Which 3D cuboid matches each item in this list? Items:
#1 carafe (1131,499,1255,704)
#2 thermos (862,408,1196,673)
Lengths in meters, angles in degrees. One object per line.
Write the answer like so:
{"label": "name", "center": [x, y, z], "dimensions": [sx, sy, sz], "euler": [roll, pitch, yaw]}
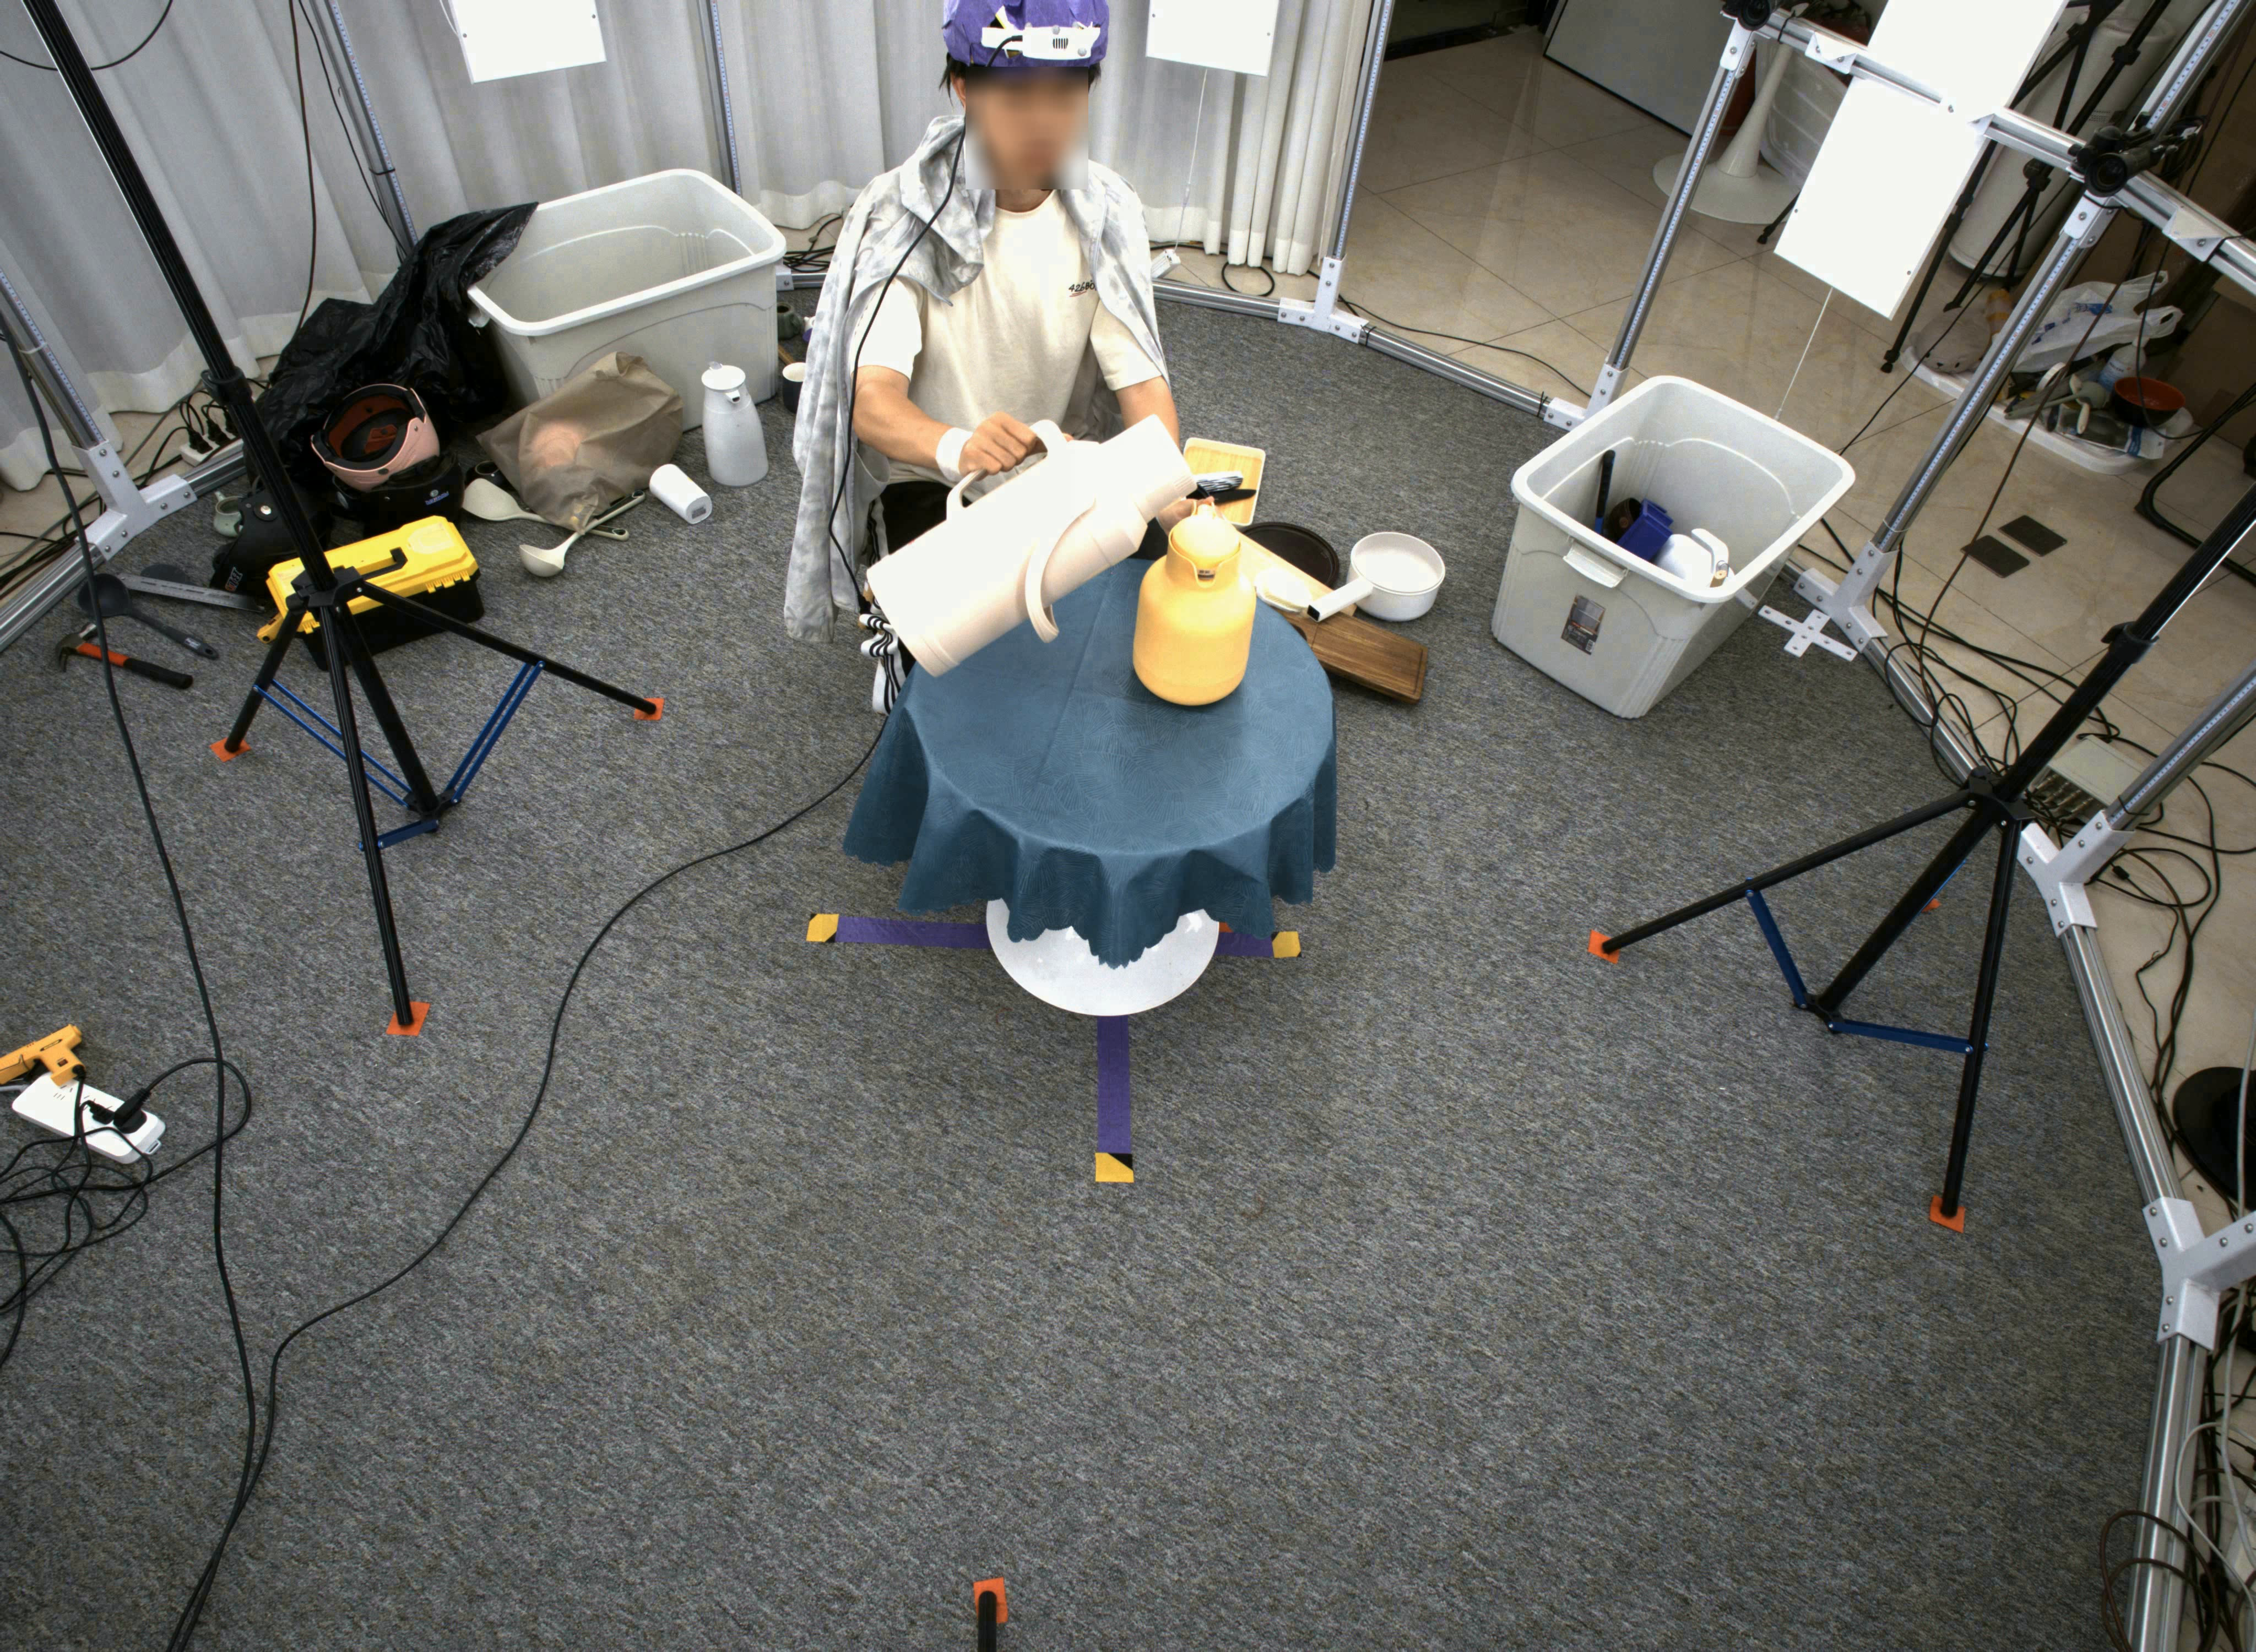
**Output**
{"label": "carafe", "center": [0.095, -0.317, 1.774], "dimensions": [0.163, 0.254, 0.207], "euler": [6, 50, -2]}
{"label": "thermos", "center": [-0.122, -0.368, 1.577], "dimensions": [0.405, 0.176, 0.207], "euler": [-31, 92, 7]}
